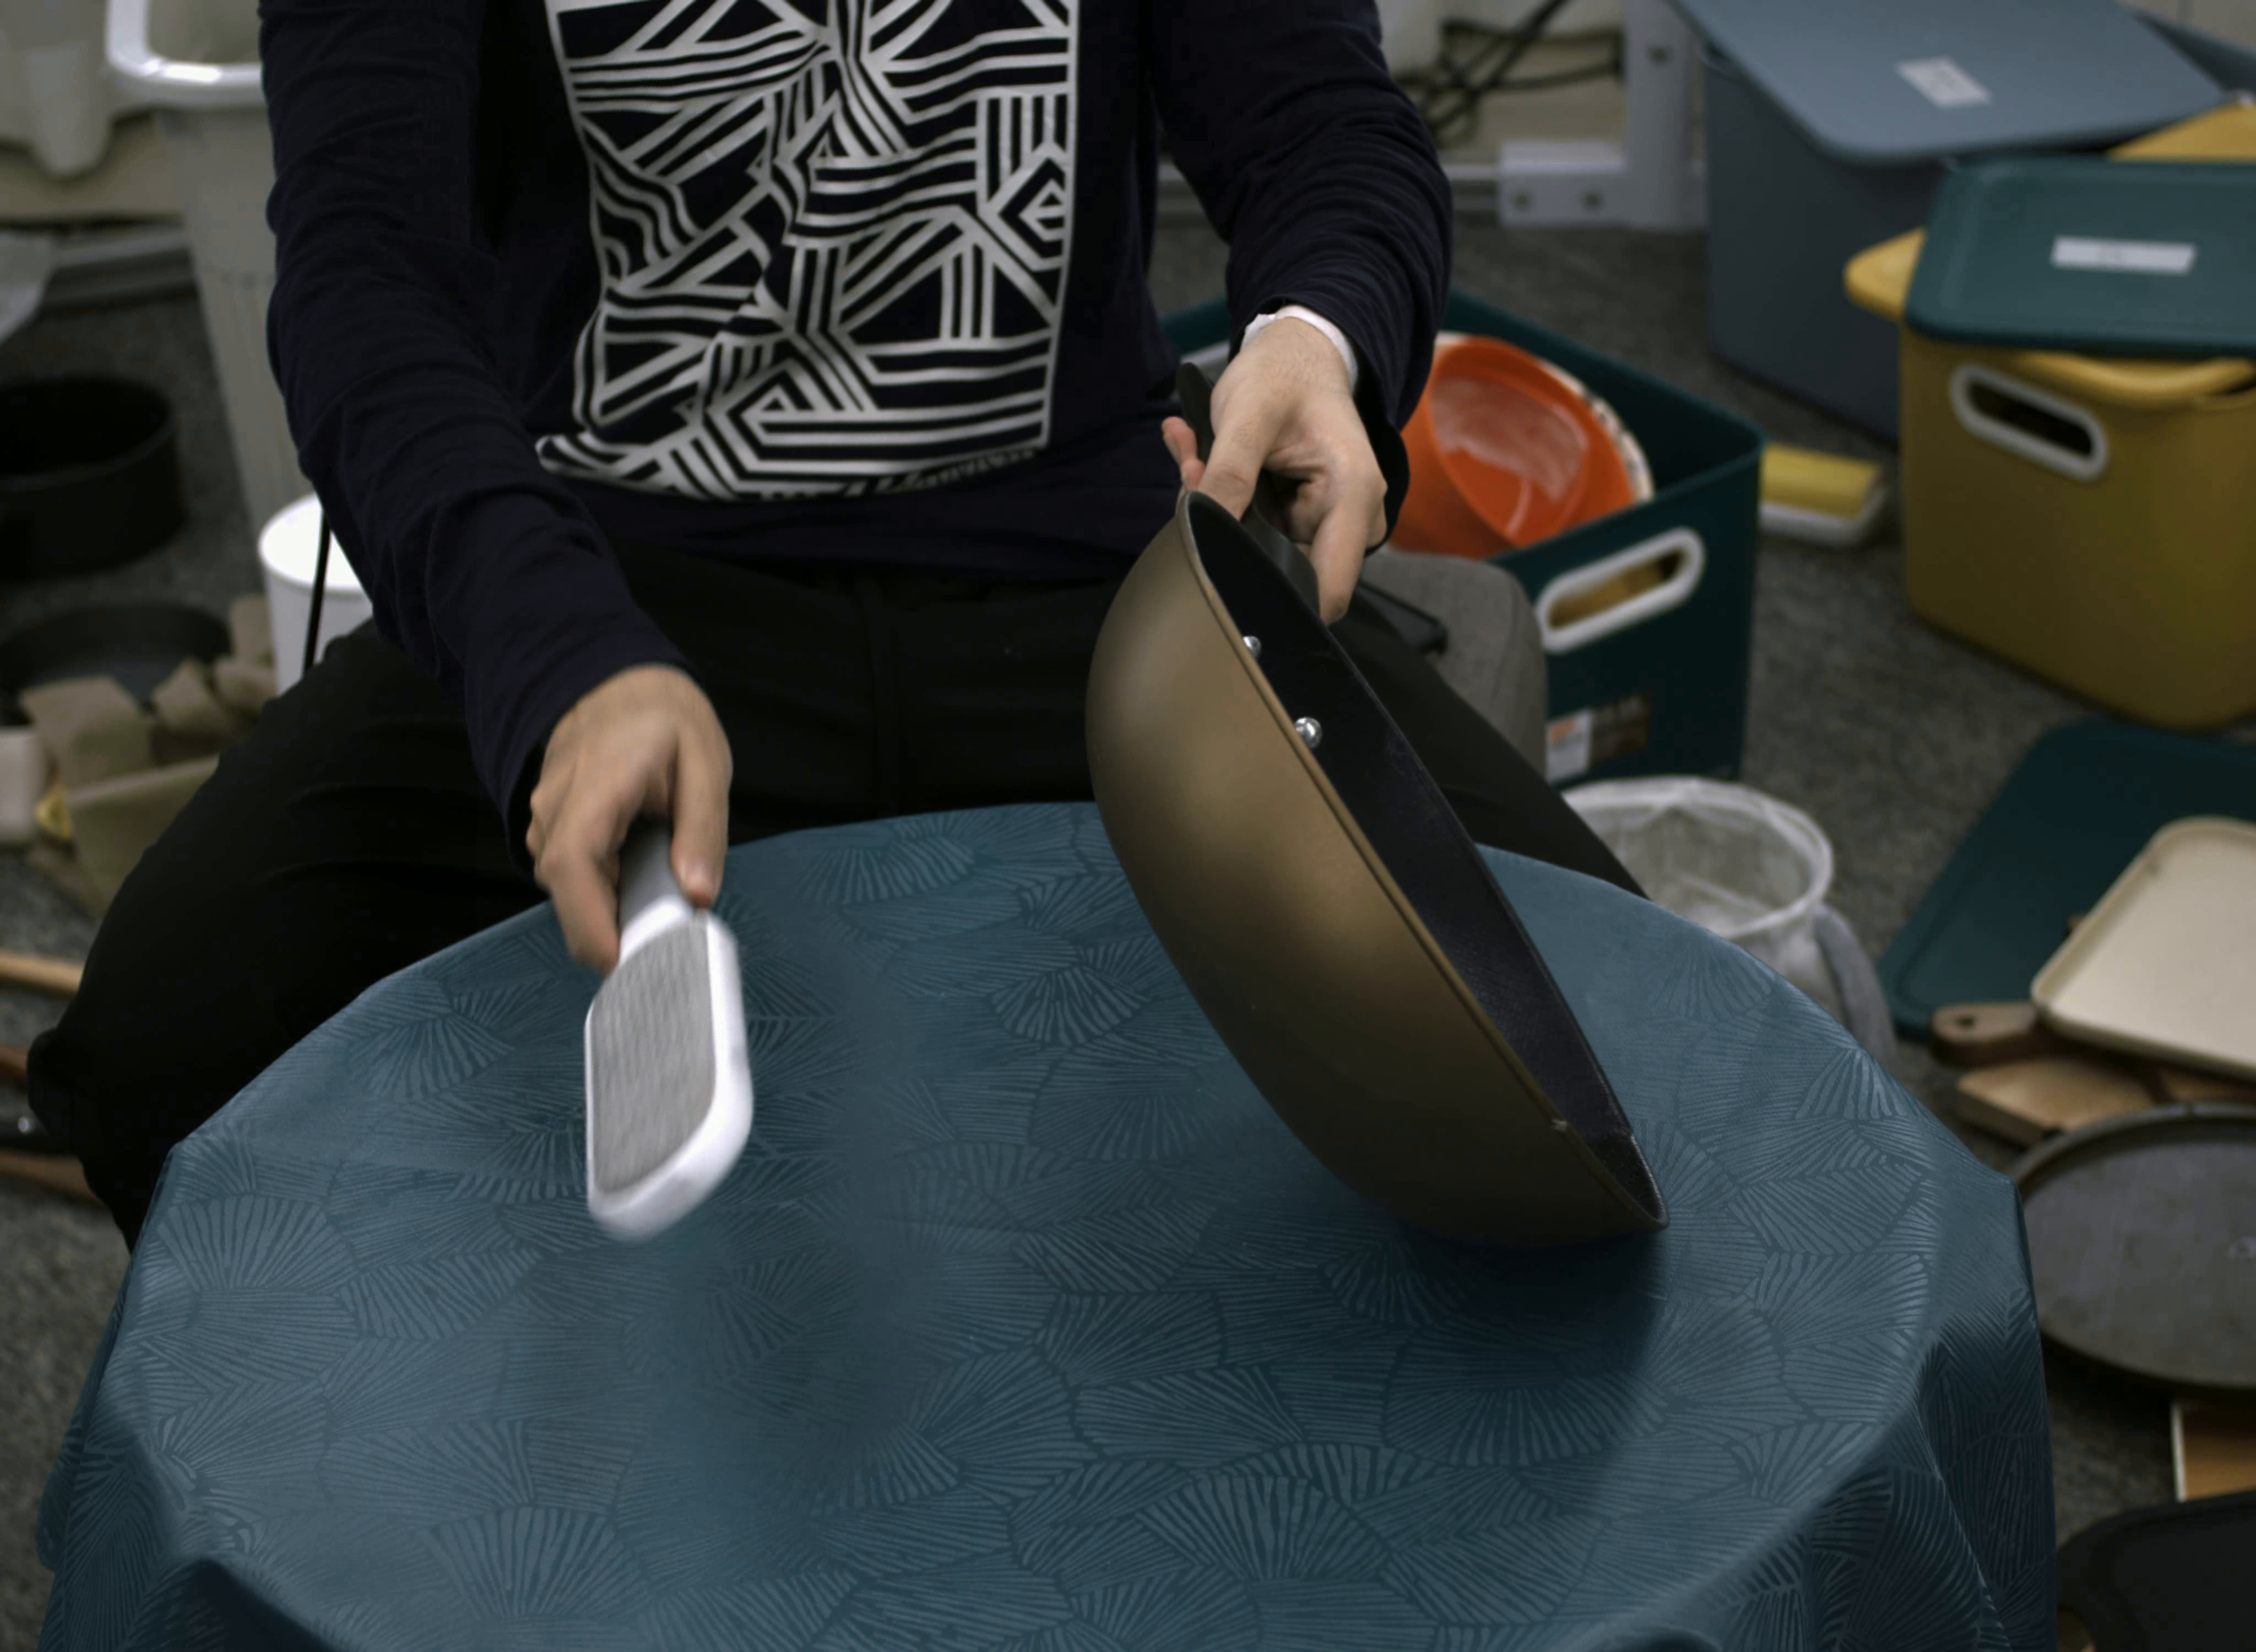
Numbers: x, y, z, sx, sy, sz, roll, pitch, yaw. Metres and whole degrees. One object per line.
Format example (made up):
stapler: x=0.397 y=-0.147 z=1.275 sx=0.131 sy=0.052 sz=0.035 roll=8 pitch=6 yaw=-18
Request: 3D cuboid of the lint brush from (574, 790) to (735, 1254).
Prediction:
lint brush: x=-0.153 y=0.055 z=1.815 sx=0.059 sy=0.021 sz=0.312 roll=-41 pitch=21 yaw=11

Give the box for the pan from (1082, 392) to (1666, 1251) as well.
pan: x=0.046 y=-0.019 z=1.875 sx=0.086 sy=0.286 sz=0.470 roll=-32 pitch=33 yaw=8
